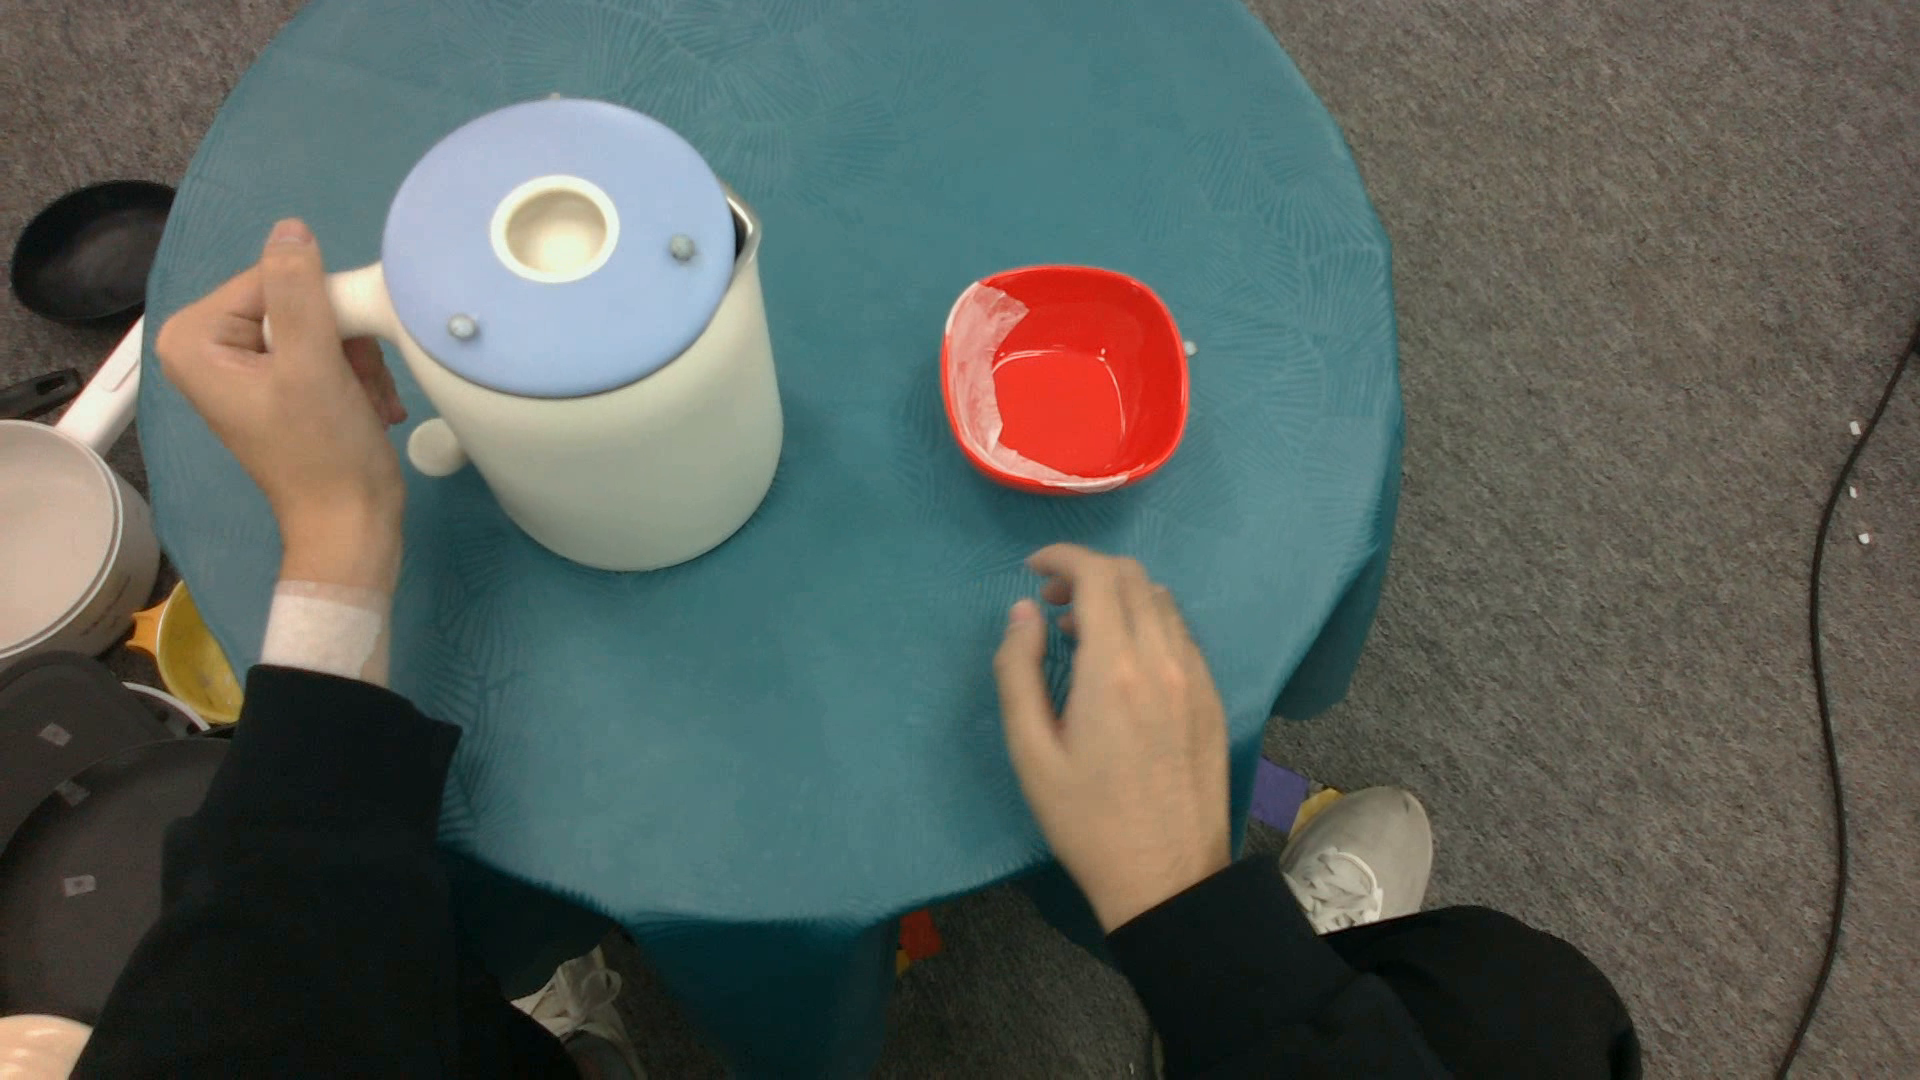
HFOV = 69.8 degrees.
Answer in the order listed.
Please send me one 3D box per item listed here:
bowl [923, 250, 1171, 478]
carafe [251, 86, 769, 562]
[{"bbox_3d":[0.036,-0.072,0.627,0.119,0.051,0.119,2,67,-5],"label":"bowl"},{"bbox_3d":[-0.172,-0.074,0.549,0.191,0.182,0.132,-11,69,-6],"label":"carafe"}]
